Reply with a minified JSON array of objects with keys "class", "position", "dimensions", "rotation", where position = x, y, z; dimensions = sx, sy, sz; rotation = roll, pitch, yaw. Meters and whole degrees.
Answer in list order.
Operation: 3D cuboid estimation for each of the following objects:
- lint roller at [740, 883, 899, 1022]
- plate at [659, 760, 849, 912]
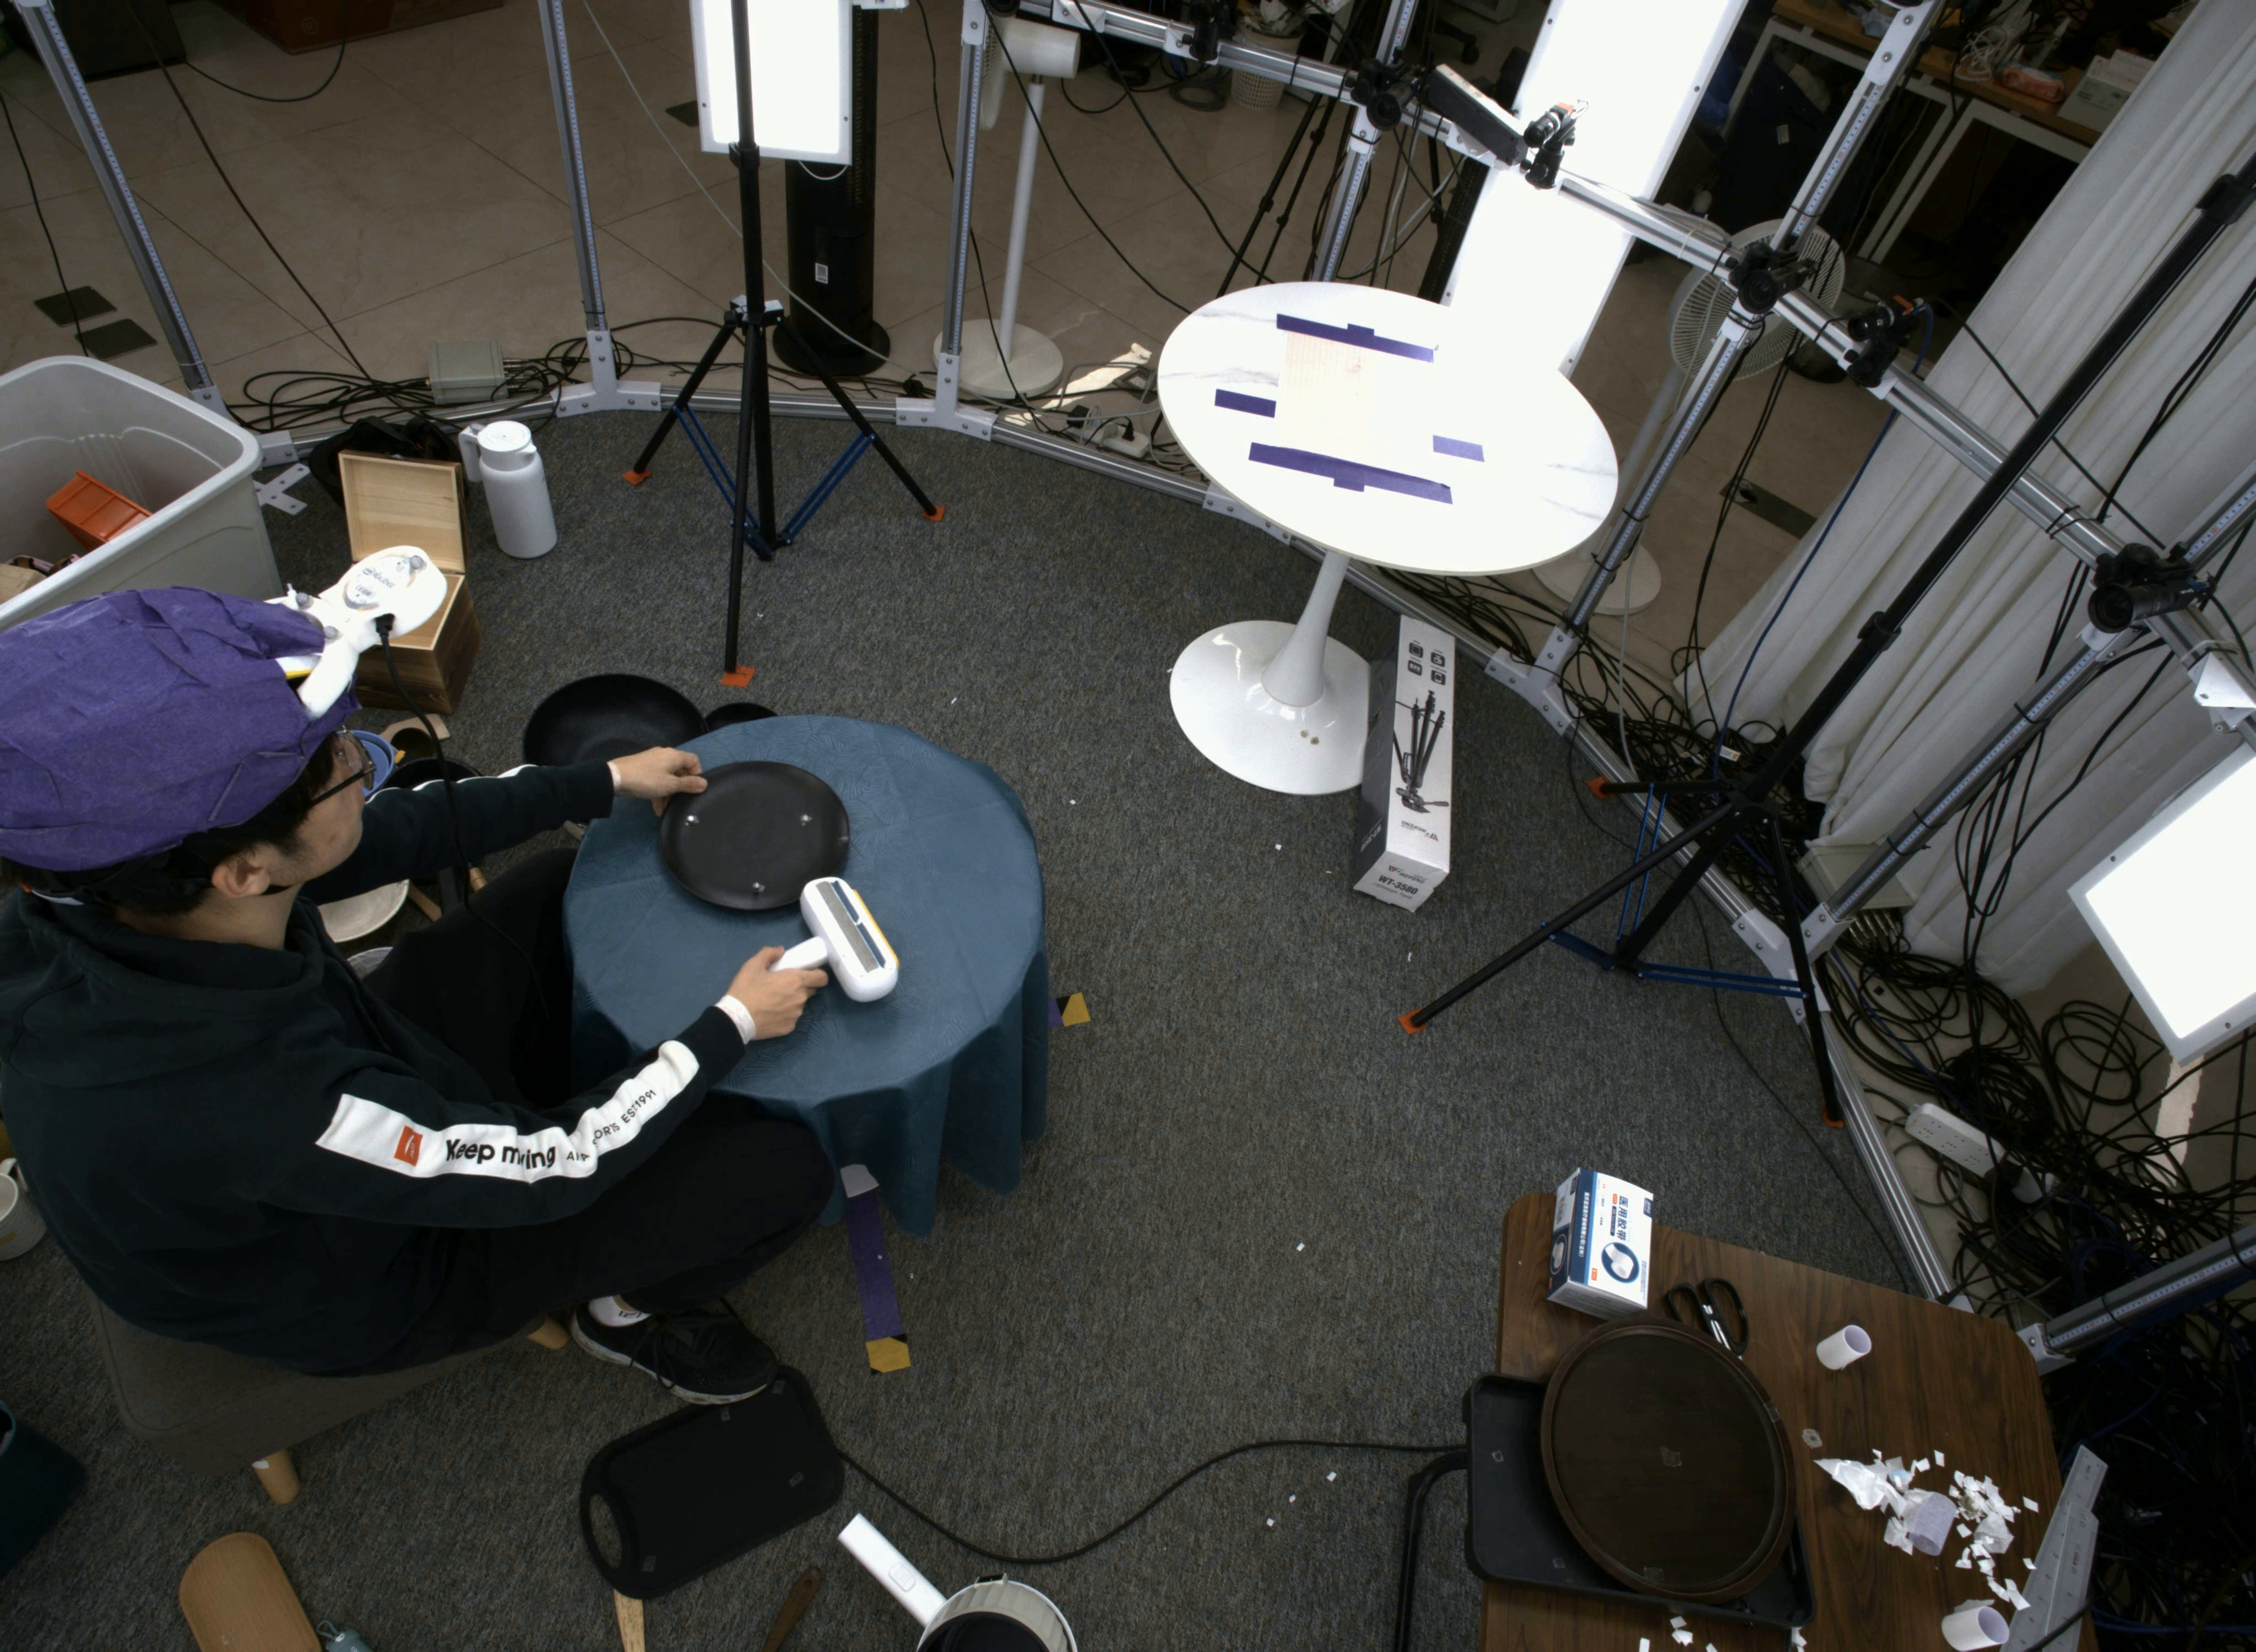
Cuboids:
[{"class":"lint roller","position":[-0.391,0.173,1.591],"dimensions":[0.192,0.076,0.187],"rotation":[-24,54,-12]},{"class":"plate","position":[-0.487,0.012,1.689],"dimensions":[0.244,0.024,0.240],"rotation":[8,53,-9]}]
